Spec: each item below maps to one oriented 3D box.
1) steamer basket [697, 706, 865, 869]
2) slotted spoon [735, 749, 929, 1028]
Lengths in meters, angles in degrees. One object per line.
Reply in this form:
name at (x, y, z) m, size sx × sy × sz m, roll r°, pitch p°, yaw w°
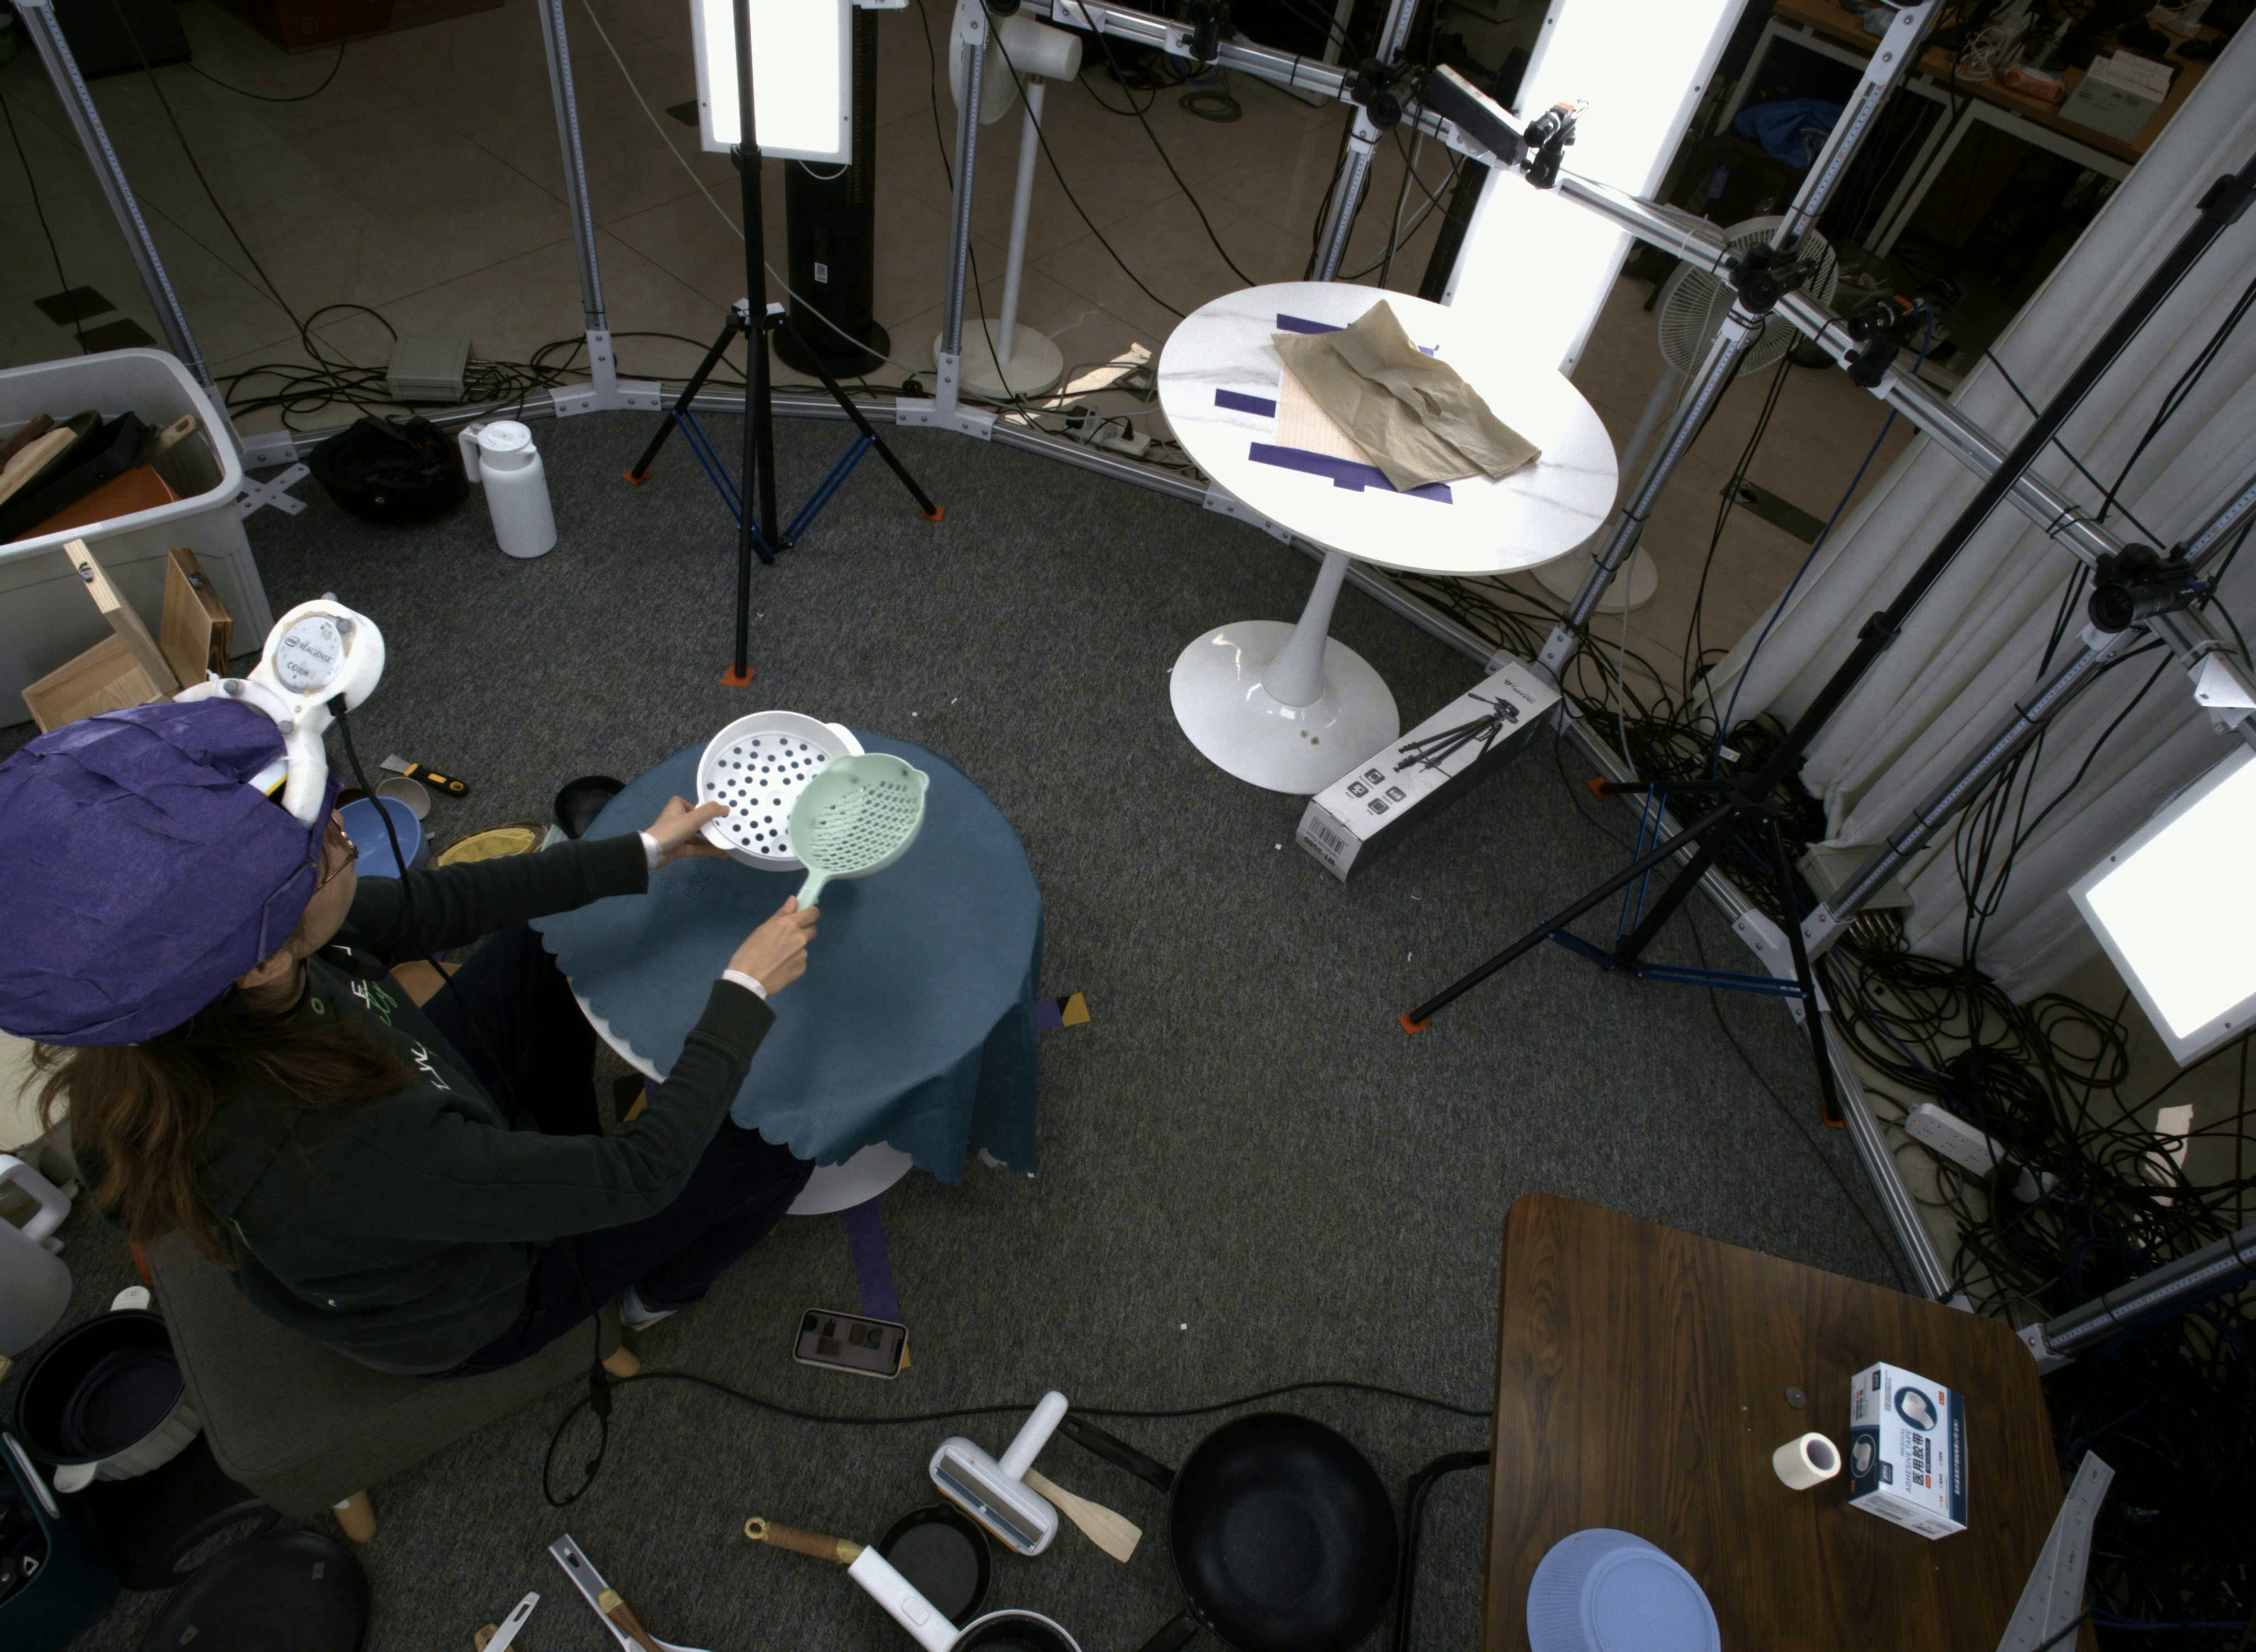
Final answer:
steamer basket at (-0.435, -0.047, 1.623) m, size 0.231 × 0.069 × 0.201 m, roll -40°, pitch 87°, yaw -30°
slotted spoon at (-0.351, 0.063, 1.471) m, size 0.164 × 0.078 × 0.357 m, roll 13°, pitch 52°, yaw 23°
